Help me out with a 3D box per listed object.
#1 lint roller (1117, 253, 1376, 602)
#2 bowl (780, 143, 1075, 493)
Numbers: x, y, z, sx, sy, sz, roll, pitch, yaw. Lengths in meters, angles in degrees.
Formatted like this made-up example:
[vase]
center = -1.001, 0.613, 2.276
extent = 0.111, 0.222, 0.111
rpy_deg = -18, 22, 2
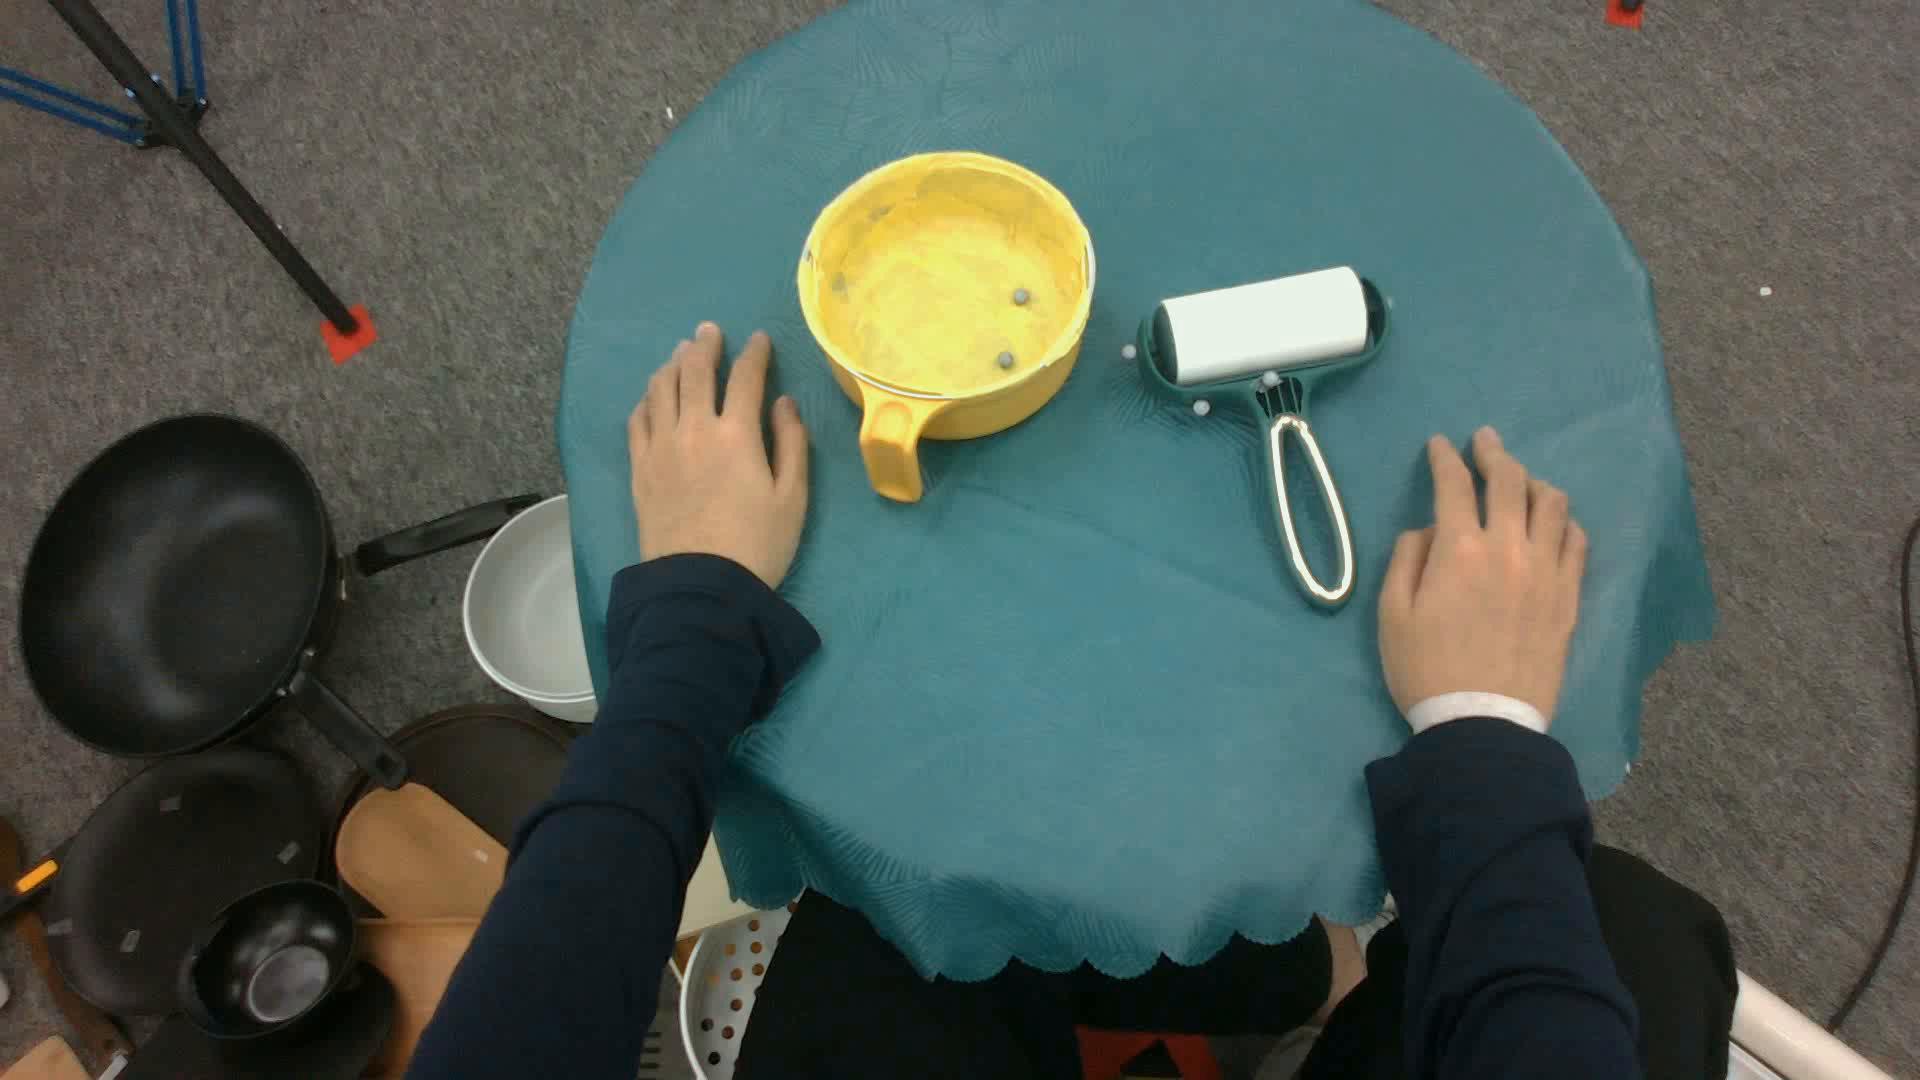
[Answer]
[lint roller]
center = 0.163, -0.059, 0.710
extent = 0.134, 0.048, 0.180
rpy_deg = -10, 71, -2
[bowl]
center = -0.019, -0.119, 0.730
extent = 0.153, 0.074, 0.180
rpy_deg = 9, 66, 6
